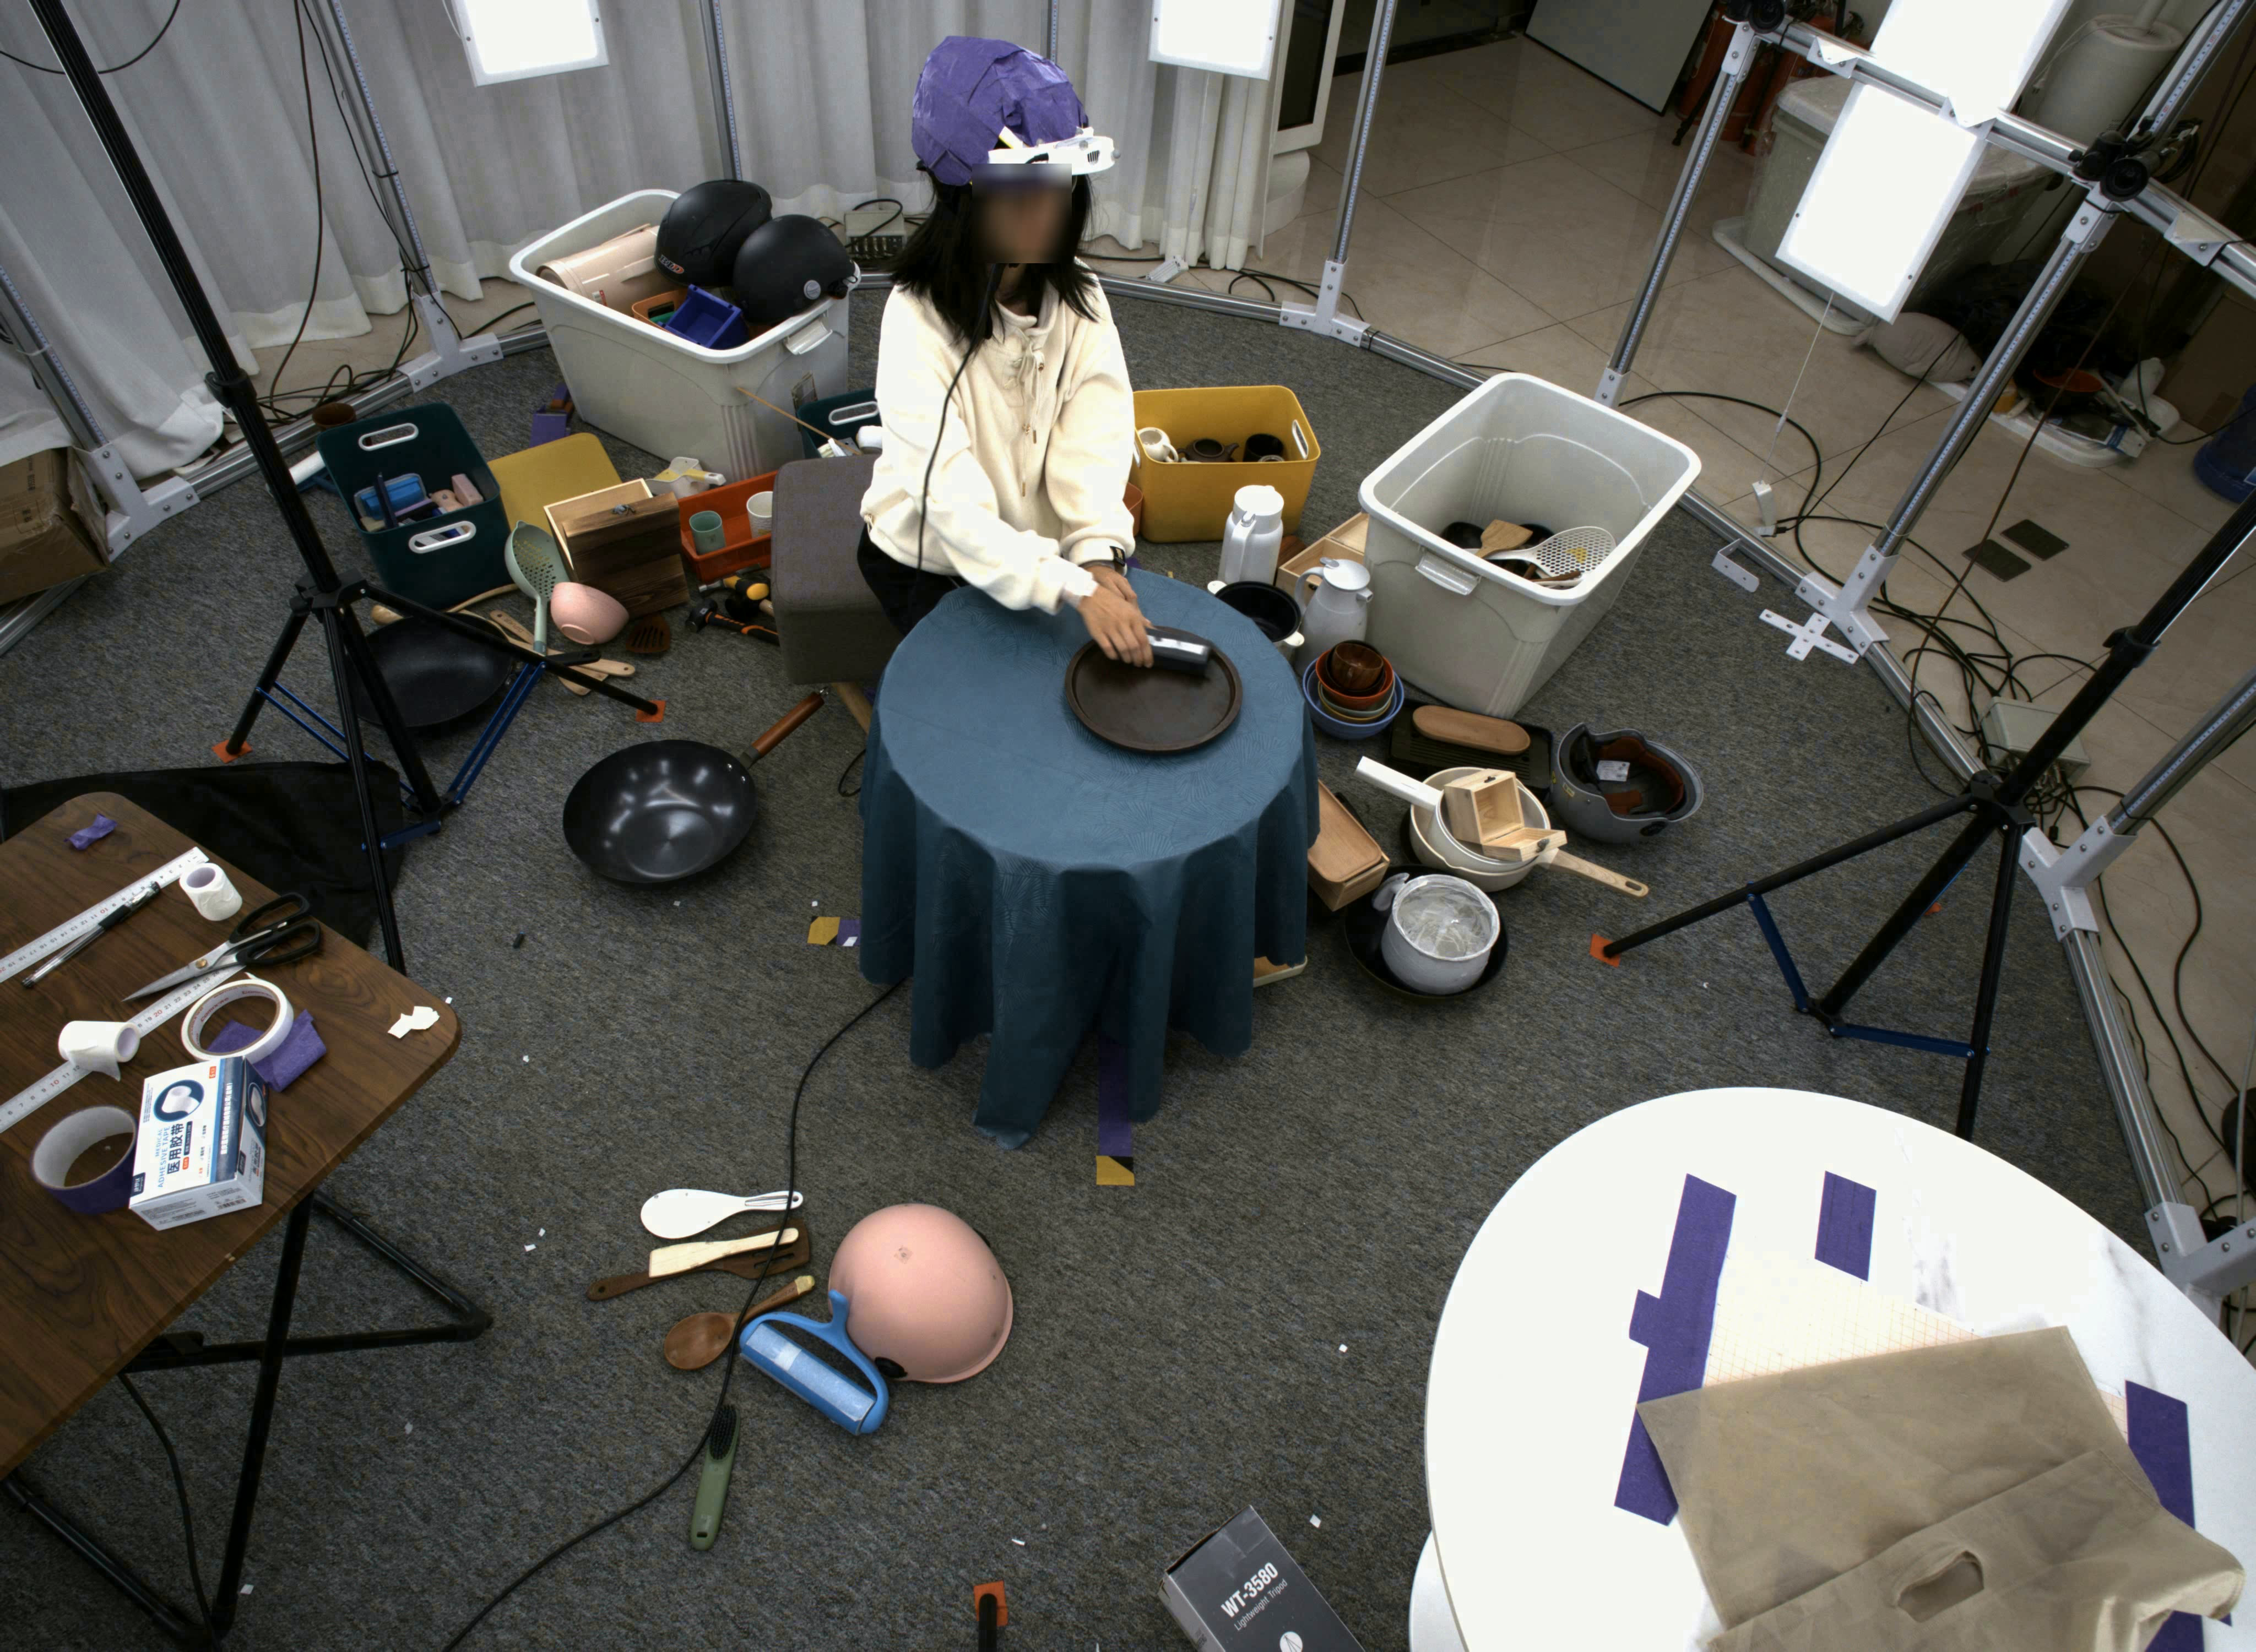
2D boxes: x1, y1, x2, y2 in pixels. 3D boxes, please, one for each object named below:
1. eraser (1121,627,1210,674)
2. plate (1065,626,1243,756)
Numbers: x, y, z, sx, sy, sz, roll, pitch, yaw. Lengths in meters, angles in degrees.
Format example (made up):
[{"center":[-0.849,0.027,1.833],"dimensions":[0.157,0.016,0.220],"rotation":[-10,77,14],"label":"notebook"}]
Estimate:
[{"center":[0.055,-0.255,1.860],"dimensions":[0.126,0.030,0.055],"rotation":[10,48,6],"label":"eraser"},{"center":[0.037,-0.194,1.825],"dimensions":[0.254,0.028,0.261],"rotation":[2,50,-3],"label":"plate"}]
